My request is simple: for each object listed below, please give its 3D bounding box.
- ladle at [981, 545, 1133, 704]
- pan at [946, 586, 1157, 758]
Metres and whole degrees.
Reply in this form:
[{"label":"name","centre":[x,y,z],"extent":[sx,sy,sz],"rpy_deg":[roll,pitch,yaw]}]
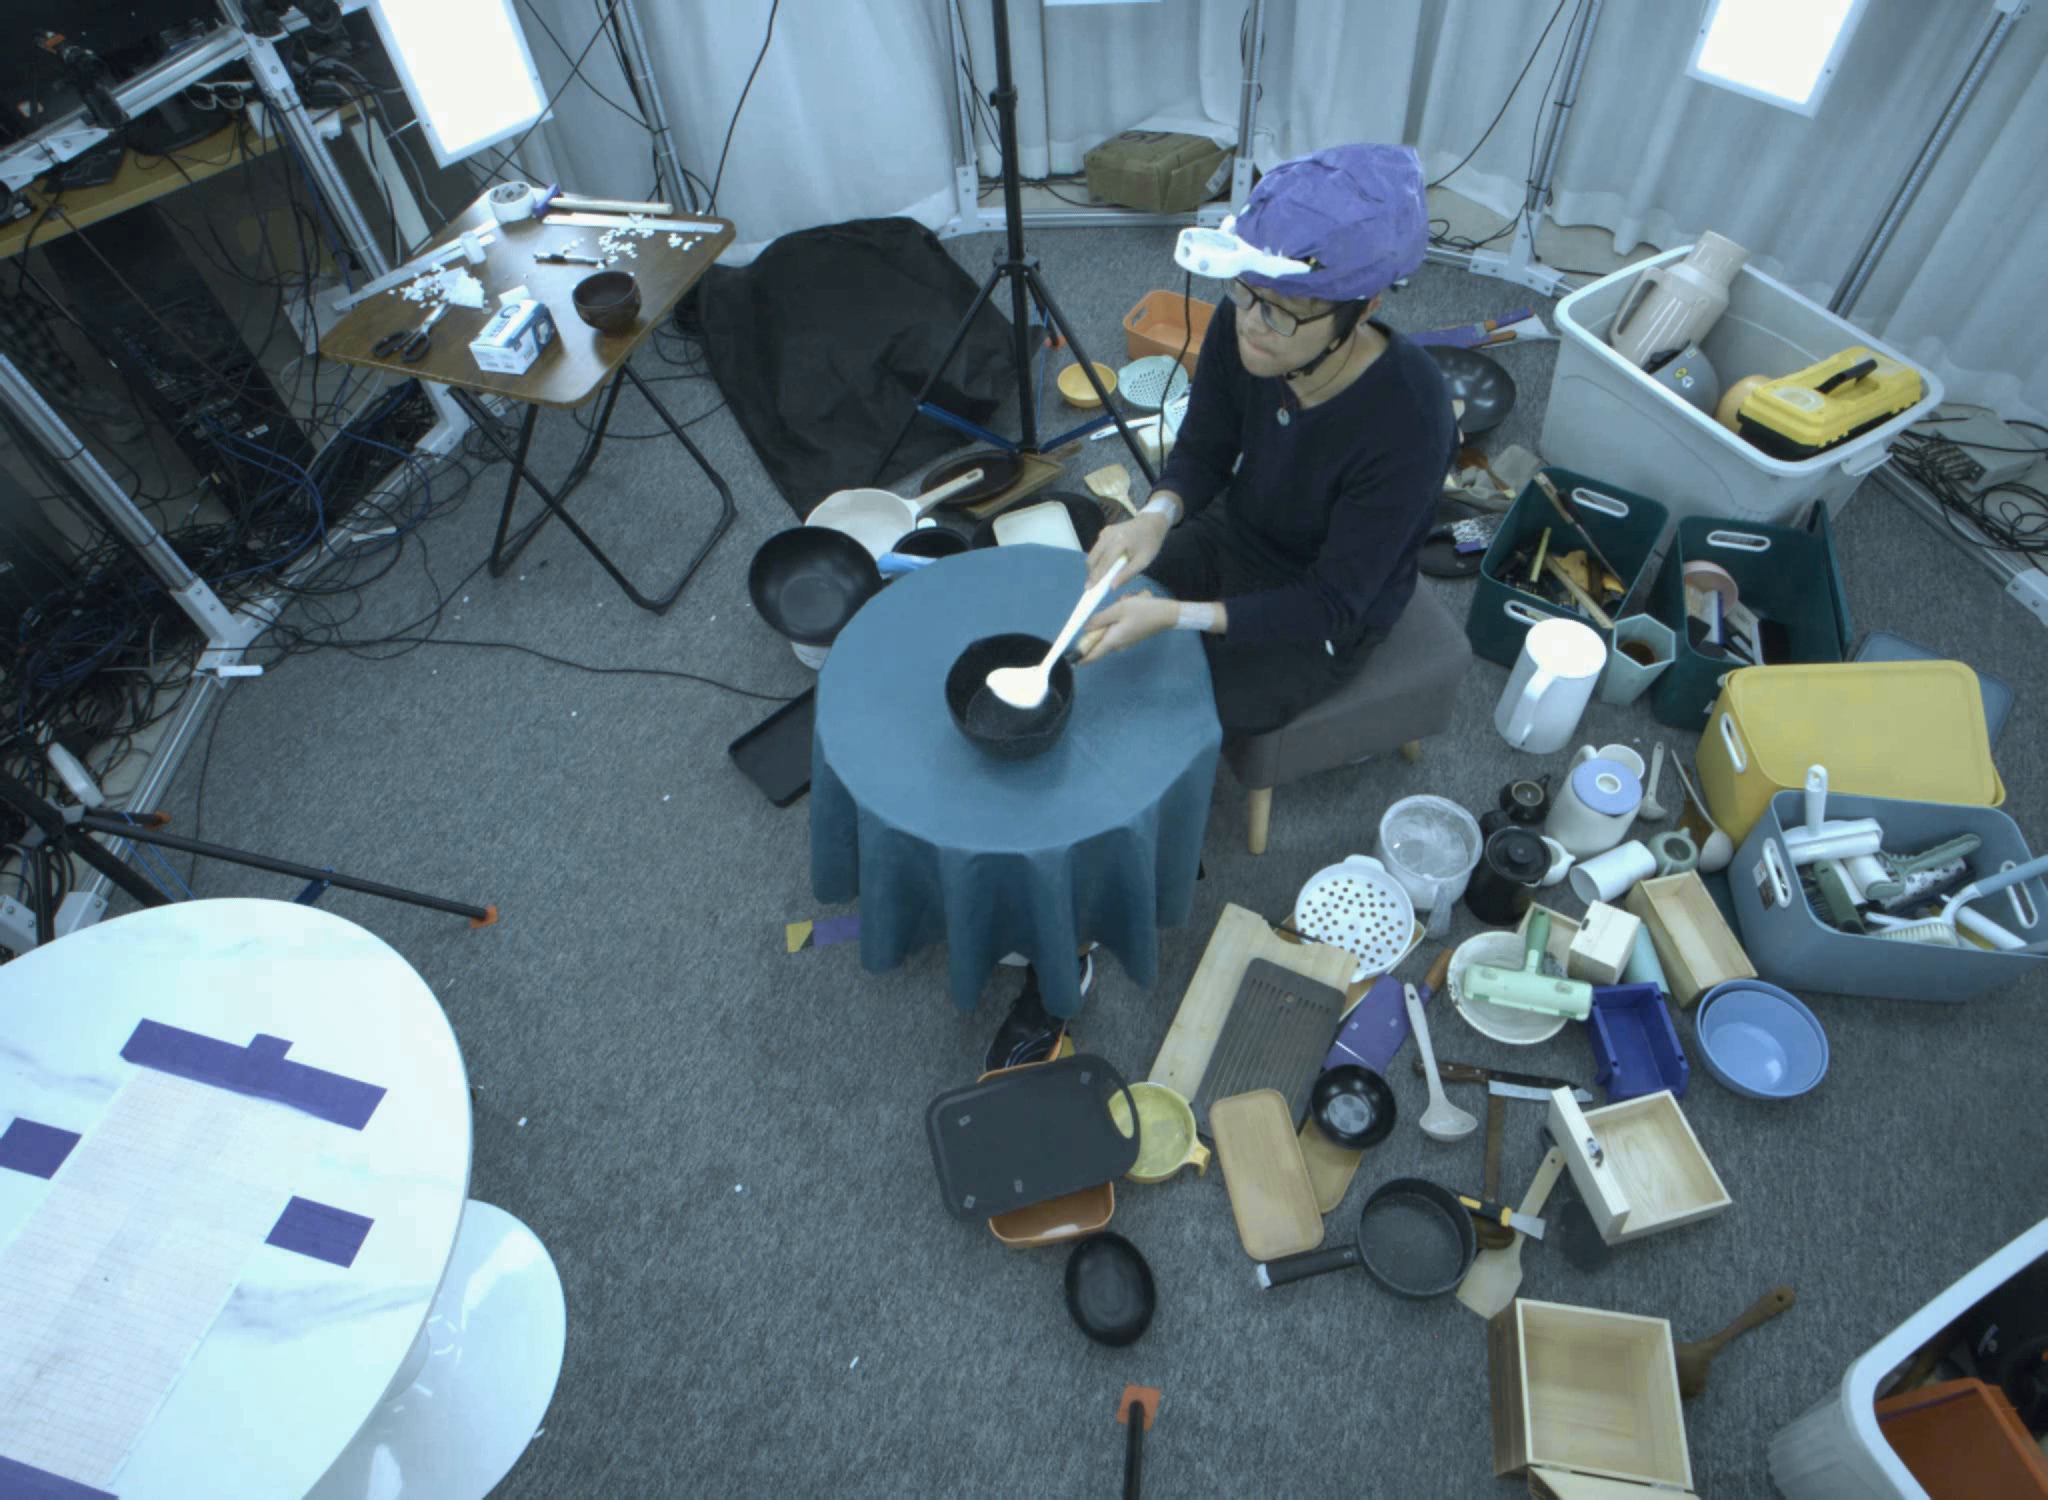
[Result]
[{"label":"ladle","centre":[0.053,-0.182,1.746],"extent":[0.088,0.071,0.293],"rpy_deg":[31,79,32]},{"label":"pan","centre":[0.050,-0.122,1.782],"extent":[0.344,0.109,0.204],"rpy_deg":[-33,62,-12]}]
